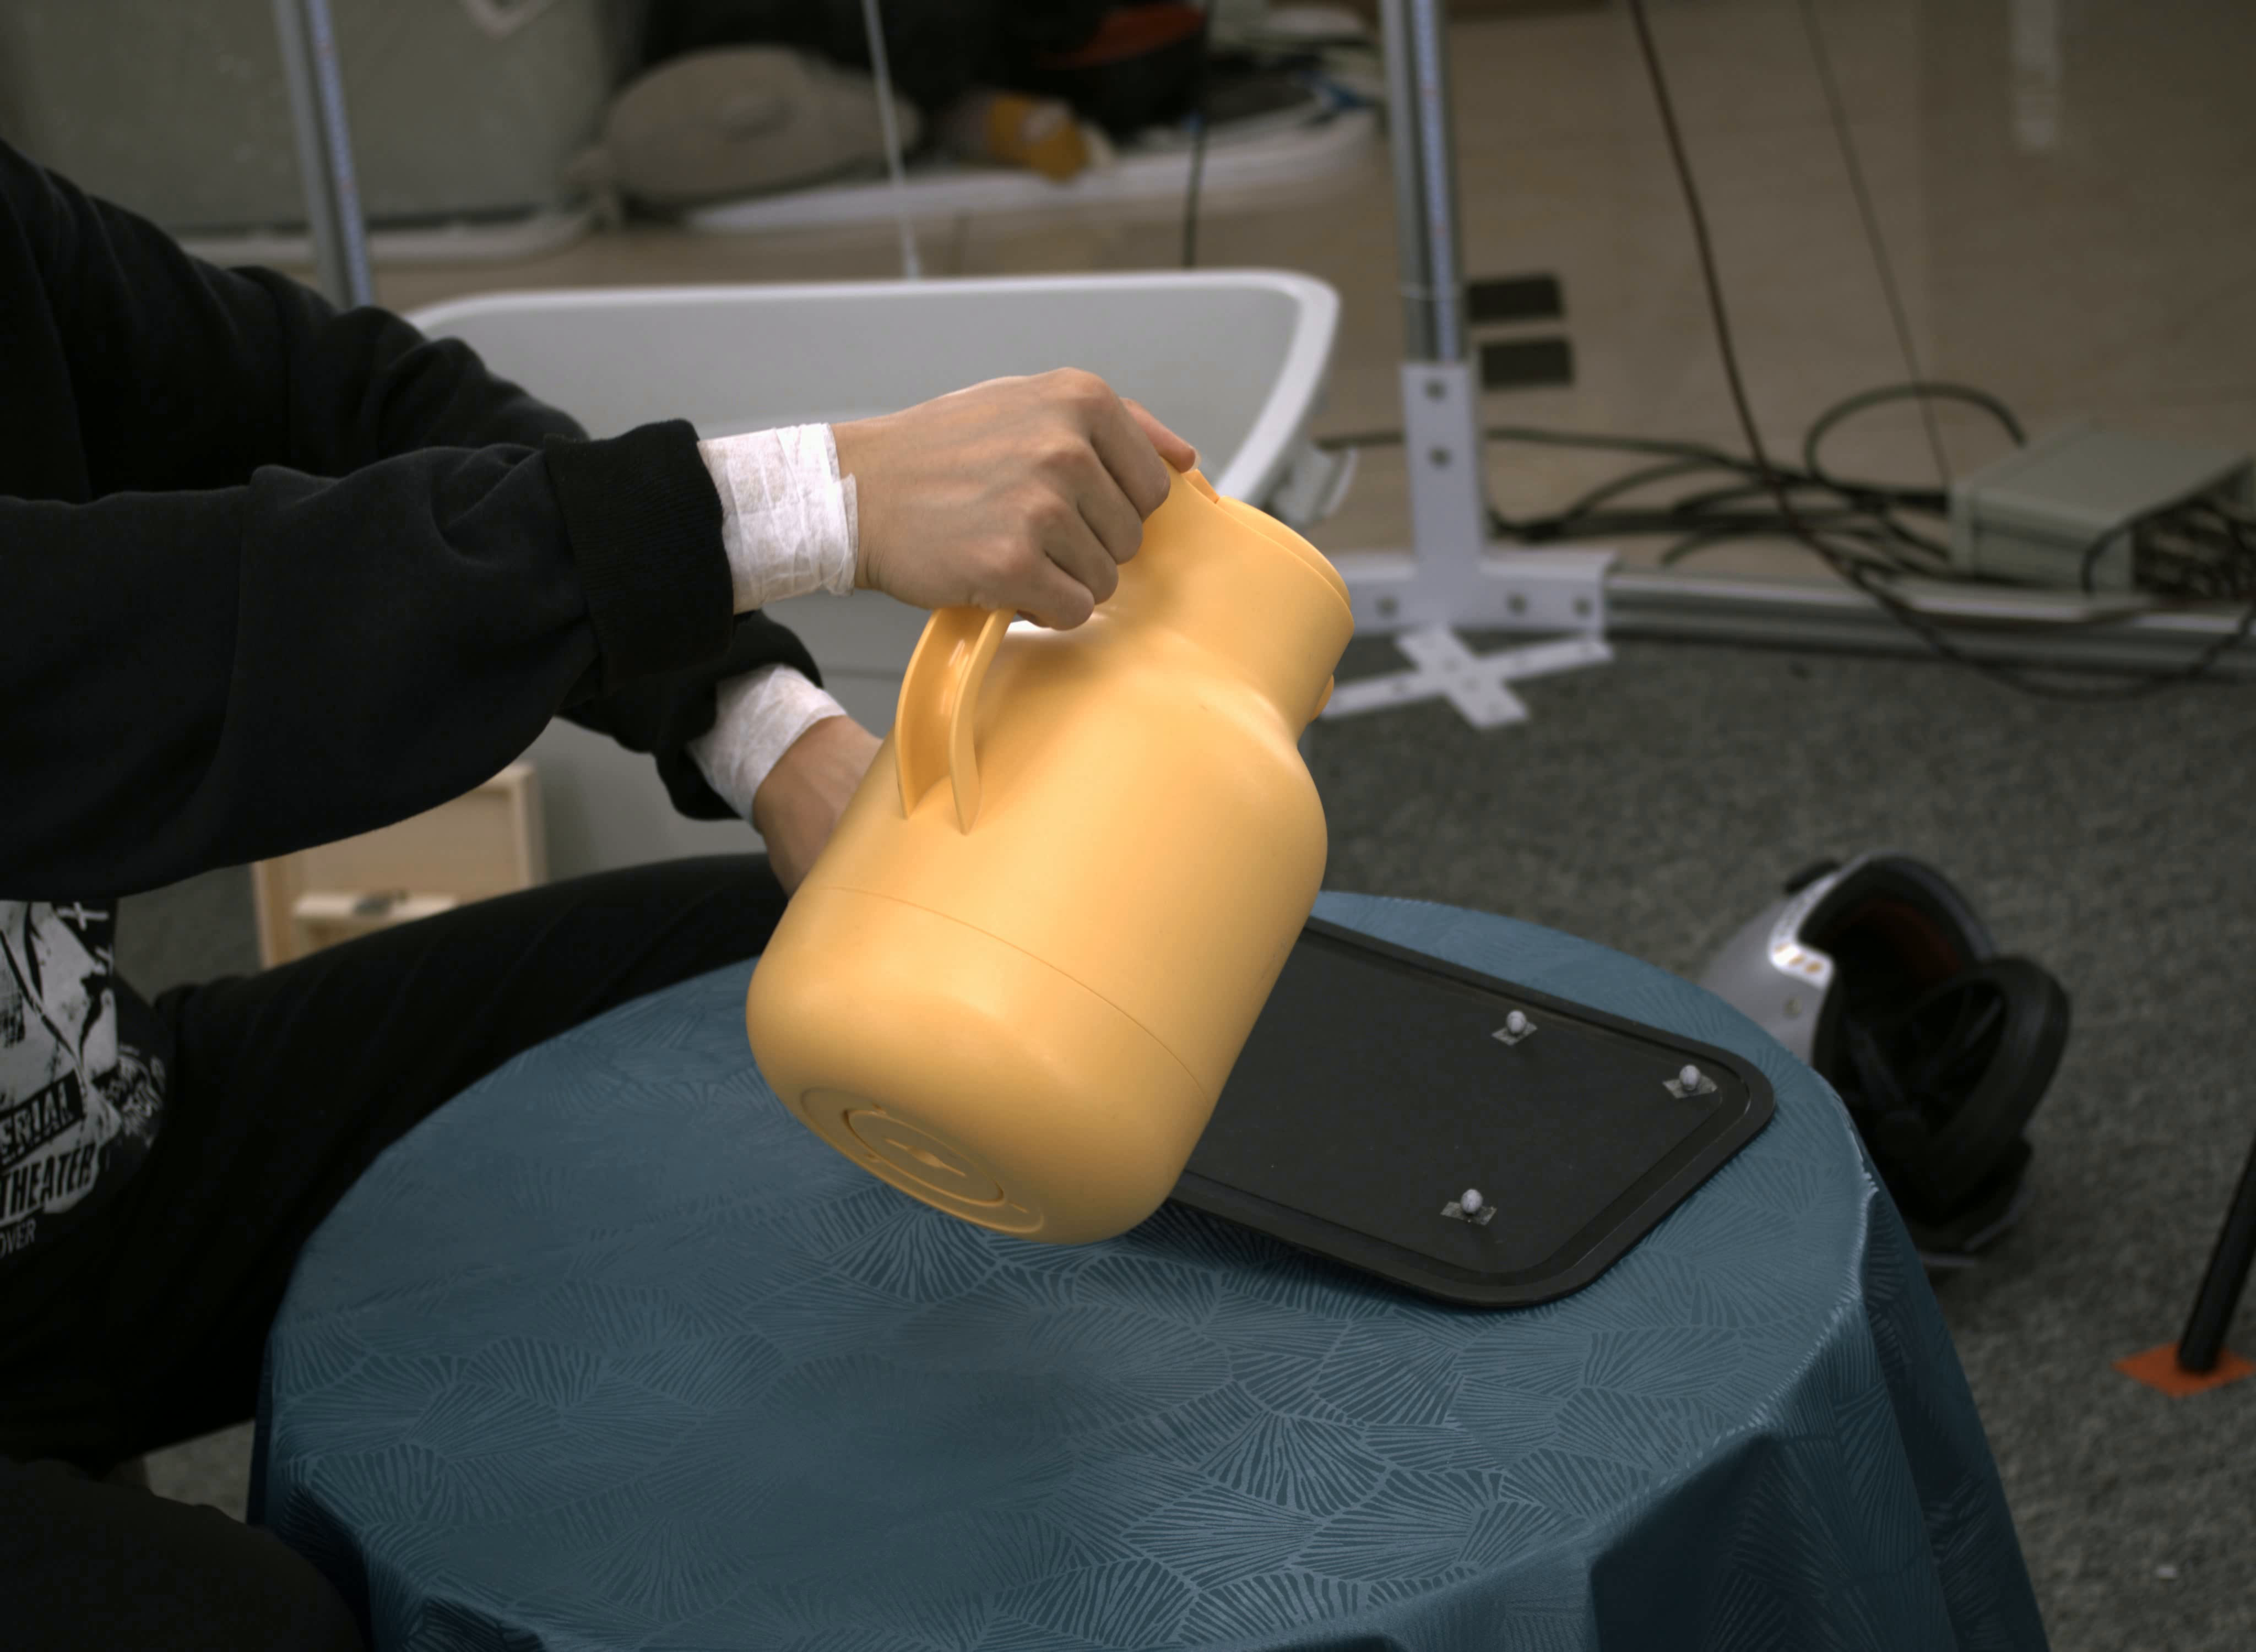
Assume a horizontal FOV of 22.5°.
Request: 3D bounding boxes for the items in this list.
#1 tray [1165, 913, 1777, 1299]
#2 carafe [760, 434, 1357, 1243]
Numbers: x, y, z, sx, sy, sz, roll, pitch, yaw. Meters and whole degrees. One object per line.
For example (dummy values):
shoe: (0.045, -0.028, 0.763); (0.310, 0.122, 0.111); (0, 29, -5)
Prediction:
tray: (0.072, 0.095, 2.176); (0.323, 0.010, 0.209); (19, 34, 30)
carafe: (-0.021, -0.005, 1.965); (0.162, 0.205, 0.258); (10, 64, 36)
